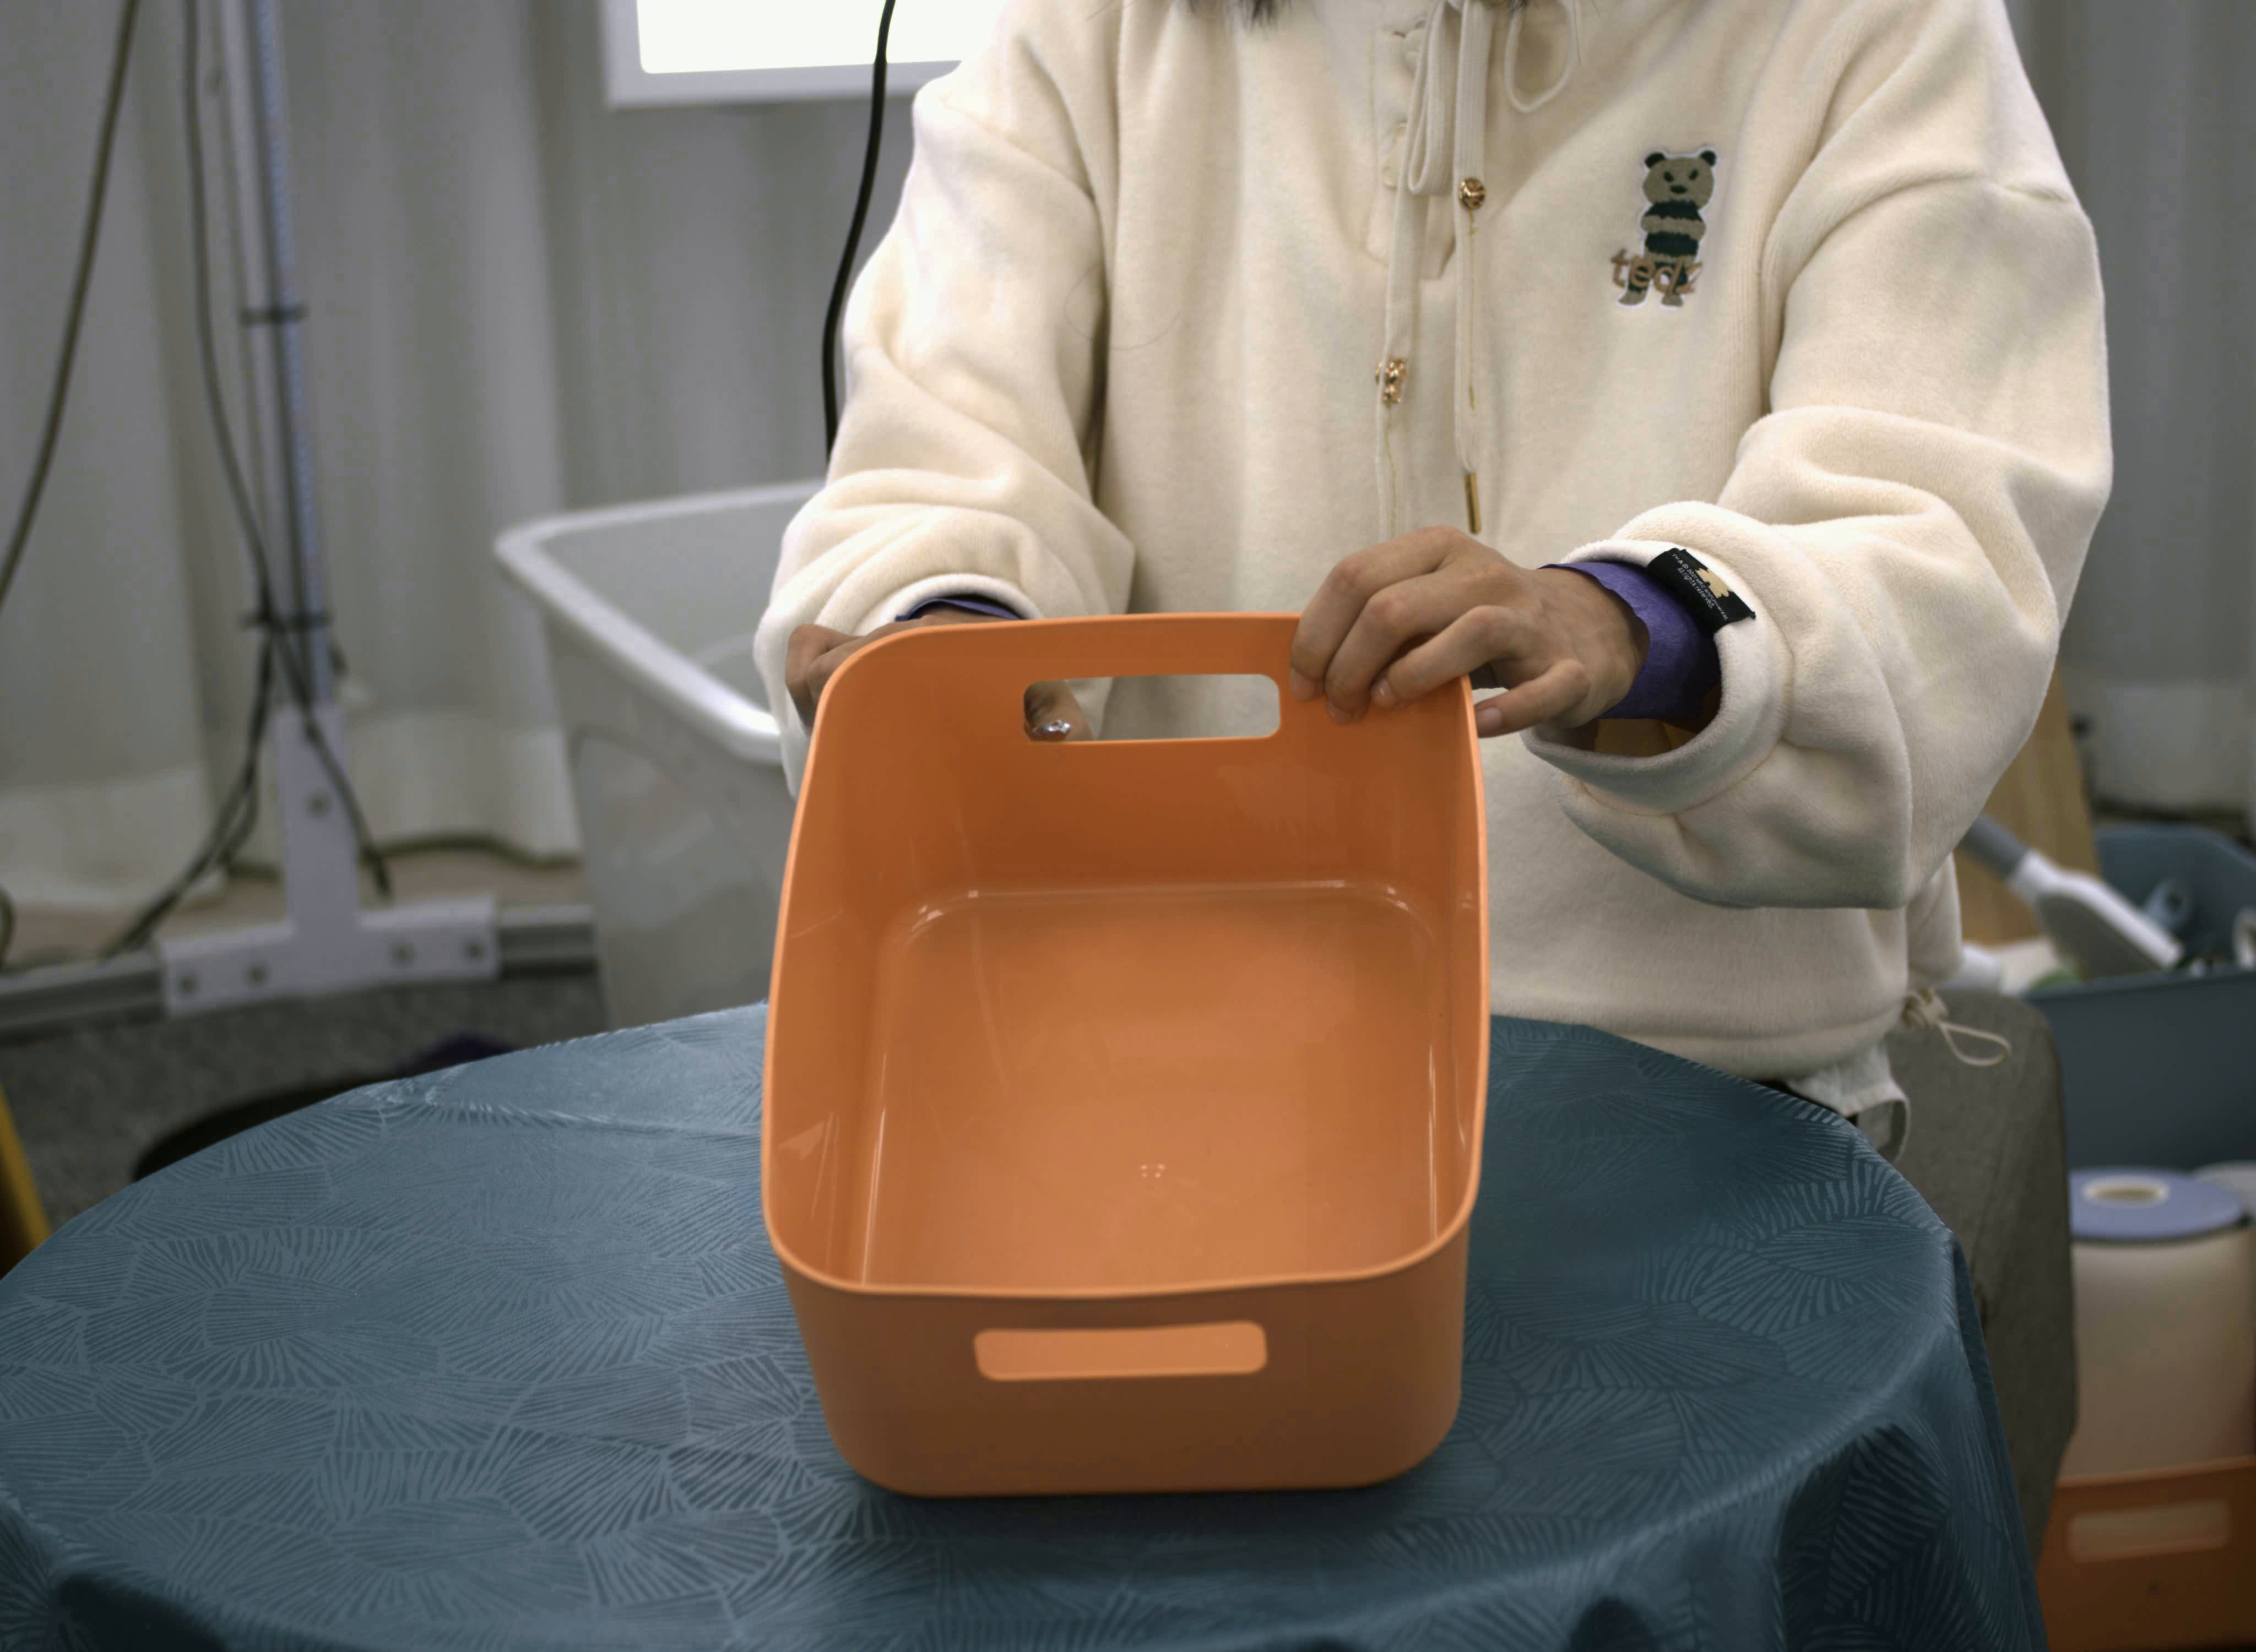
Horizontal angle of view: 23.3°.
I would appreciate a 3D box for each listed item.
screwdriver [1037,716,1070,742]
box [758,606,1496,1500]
[{"bbox_3d":[-0.043,-0.023,1.700,0.031,0.031,0.196,-5,-1,-10],"label":"screwdriver"},{"bbox_3d":[0.005,0.064,1.527,0.199,0.101,0.277,-3,42,5],"label":"box"}]
